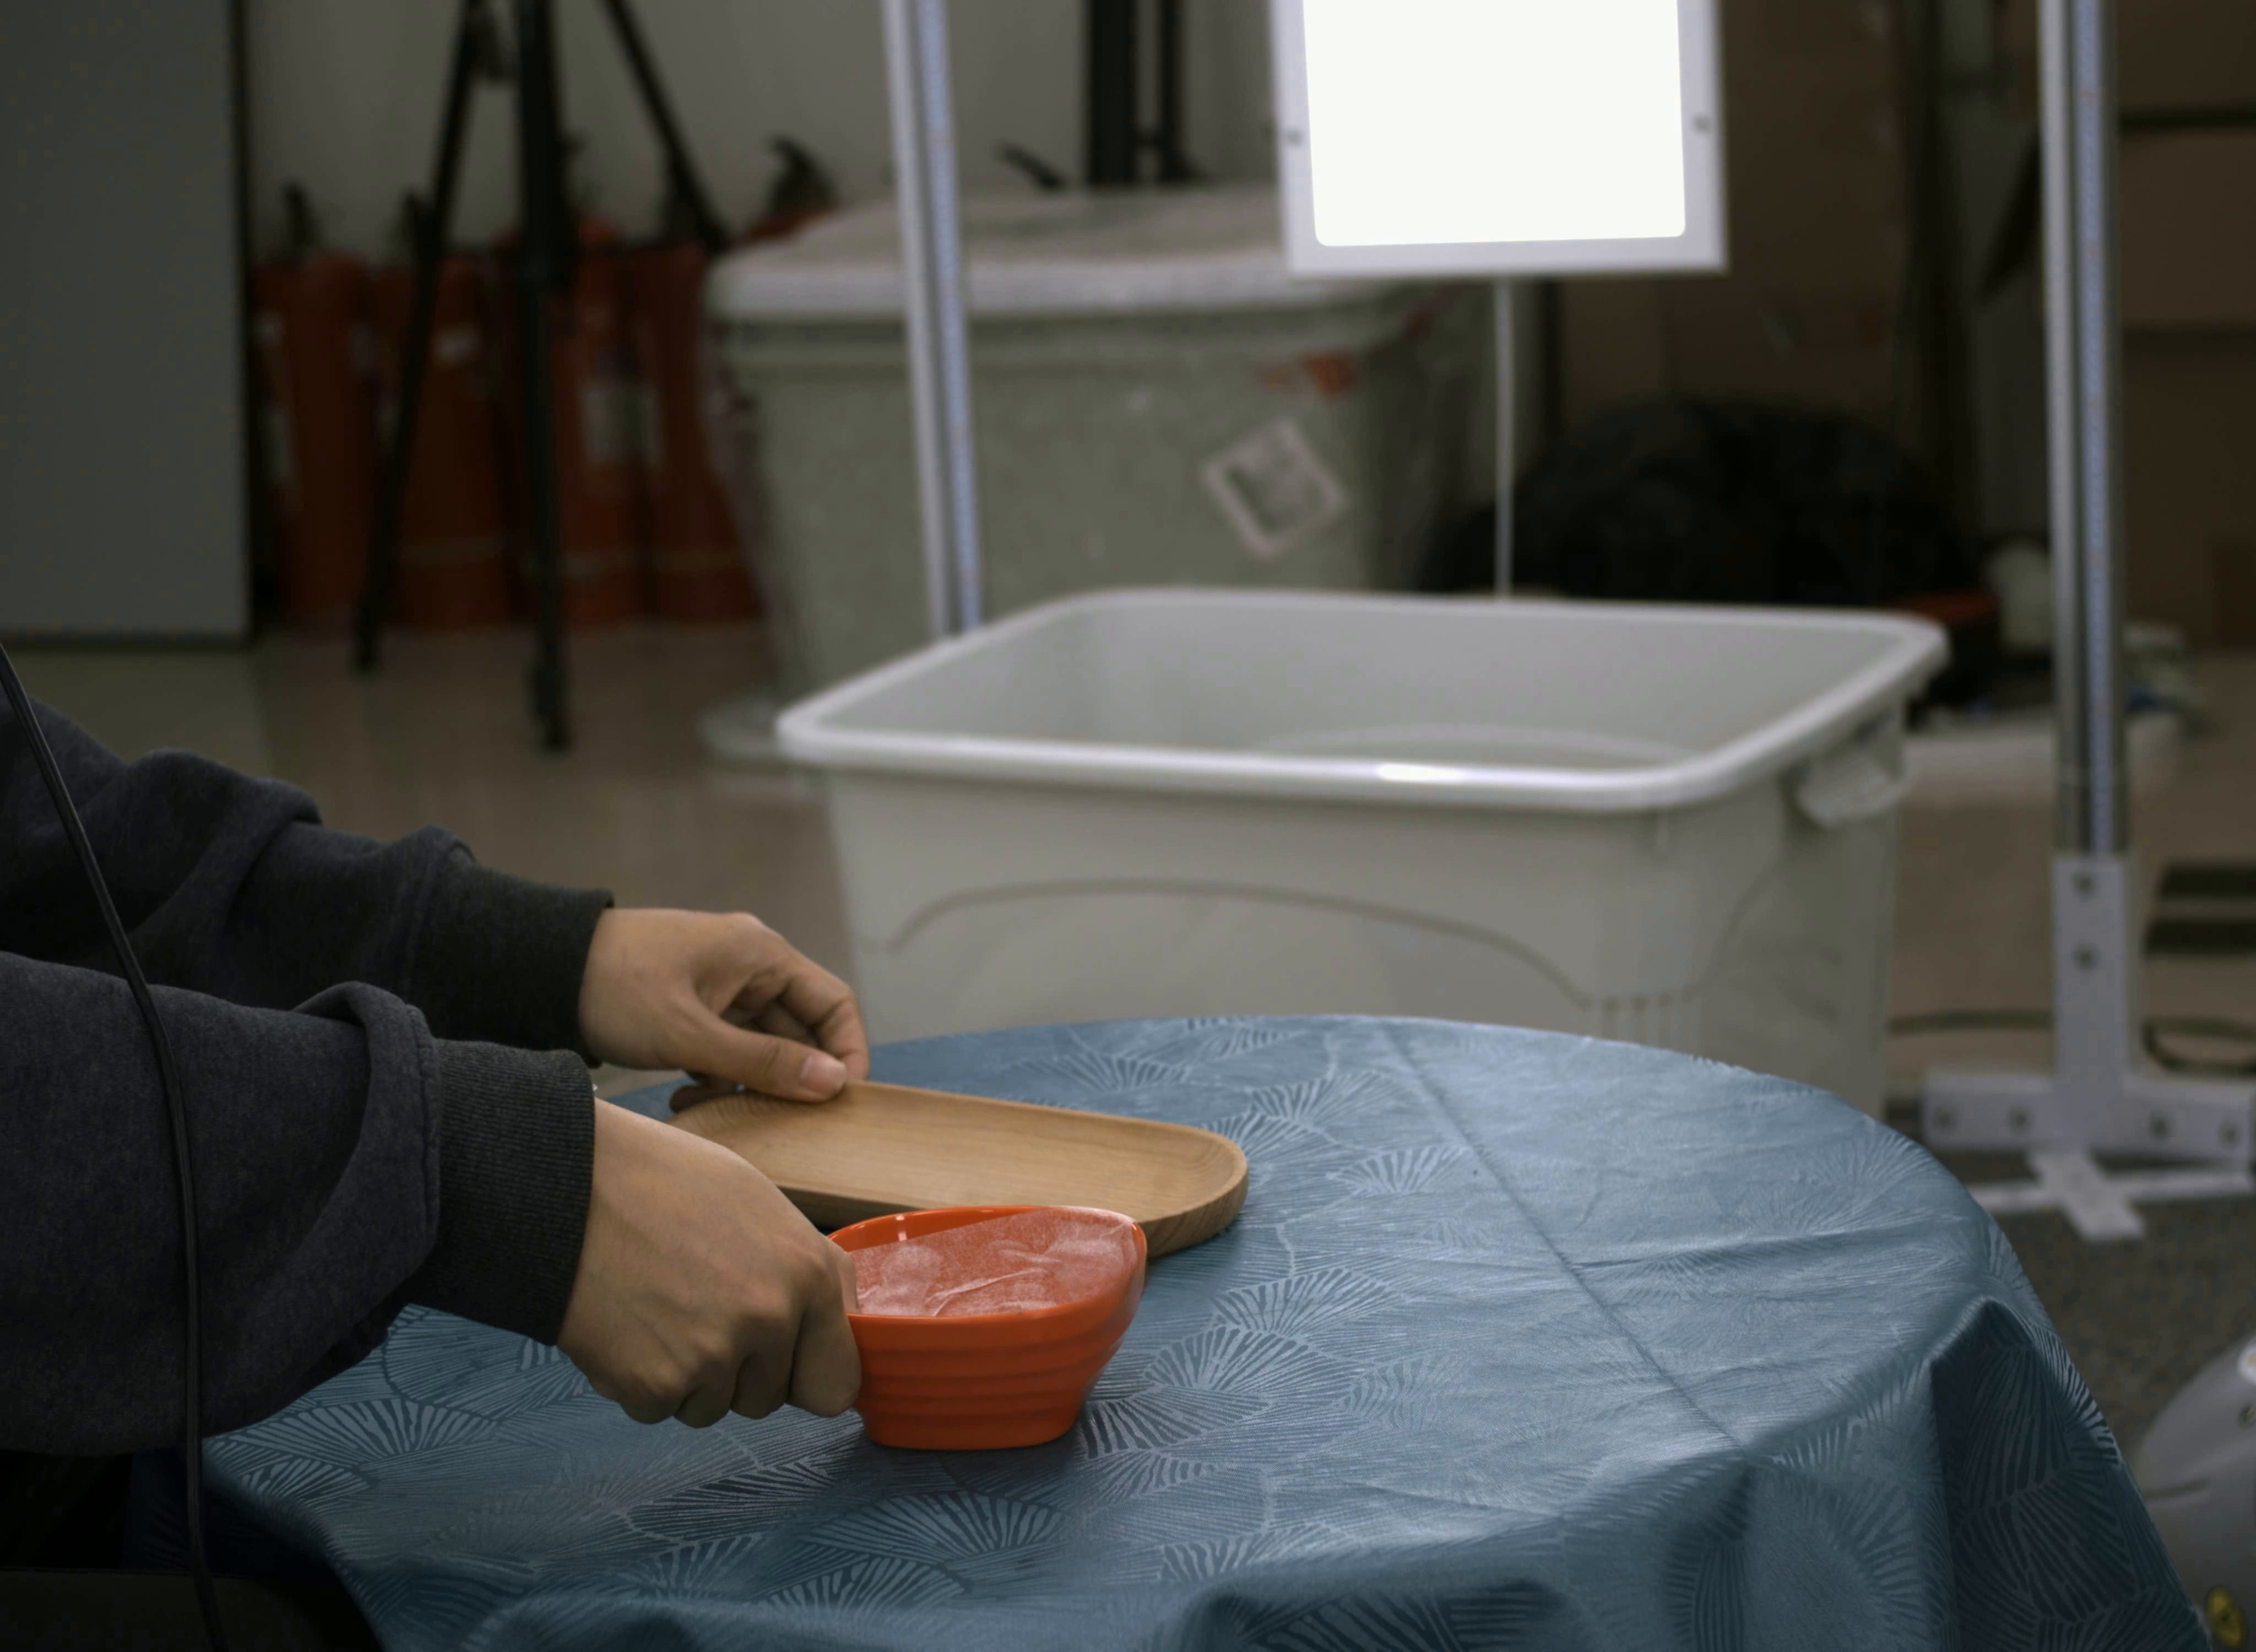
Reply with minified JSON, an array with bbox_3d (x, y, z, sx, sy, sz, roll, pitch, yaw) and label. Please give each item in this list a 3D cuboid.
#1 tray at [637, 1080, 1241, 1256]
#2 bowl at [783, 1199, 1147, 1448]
[{"bbox_3d":[-0.067,0.119,1.907,0.236,0.020,0.099,4,19,33],"label":"tray"},{"bbox_3d":[-0.048,0.155,1.686,0.118,0.051,0.119,-5,15,0],"label":"bowl"}]
